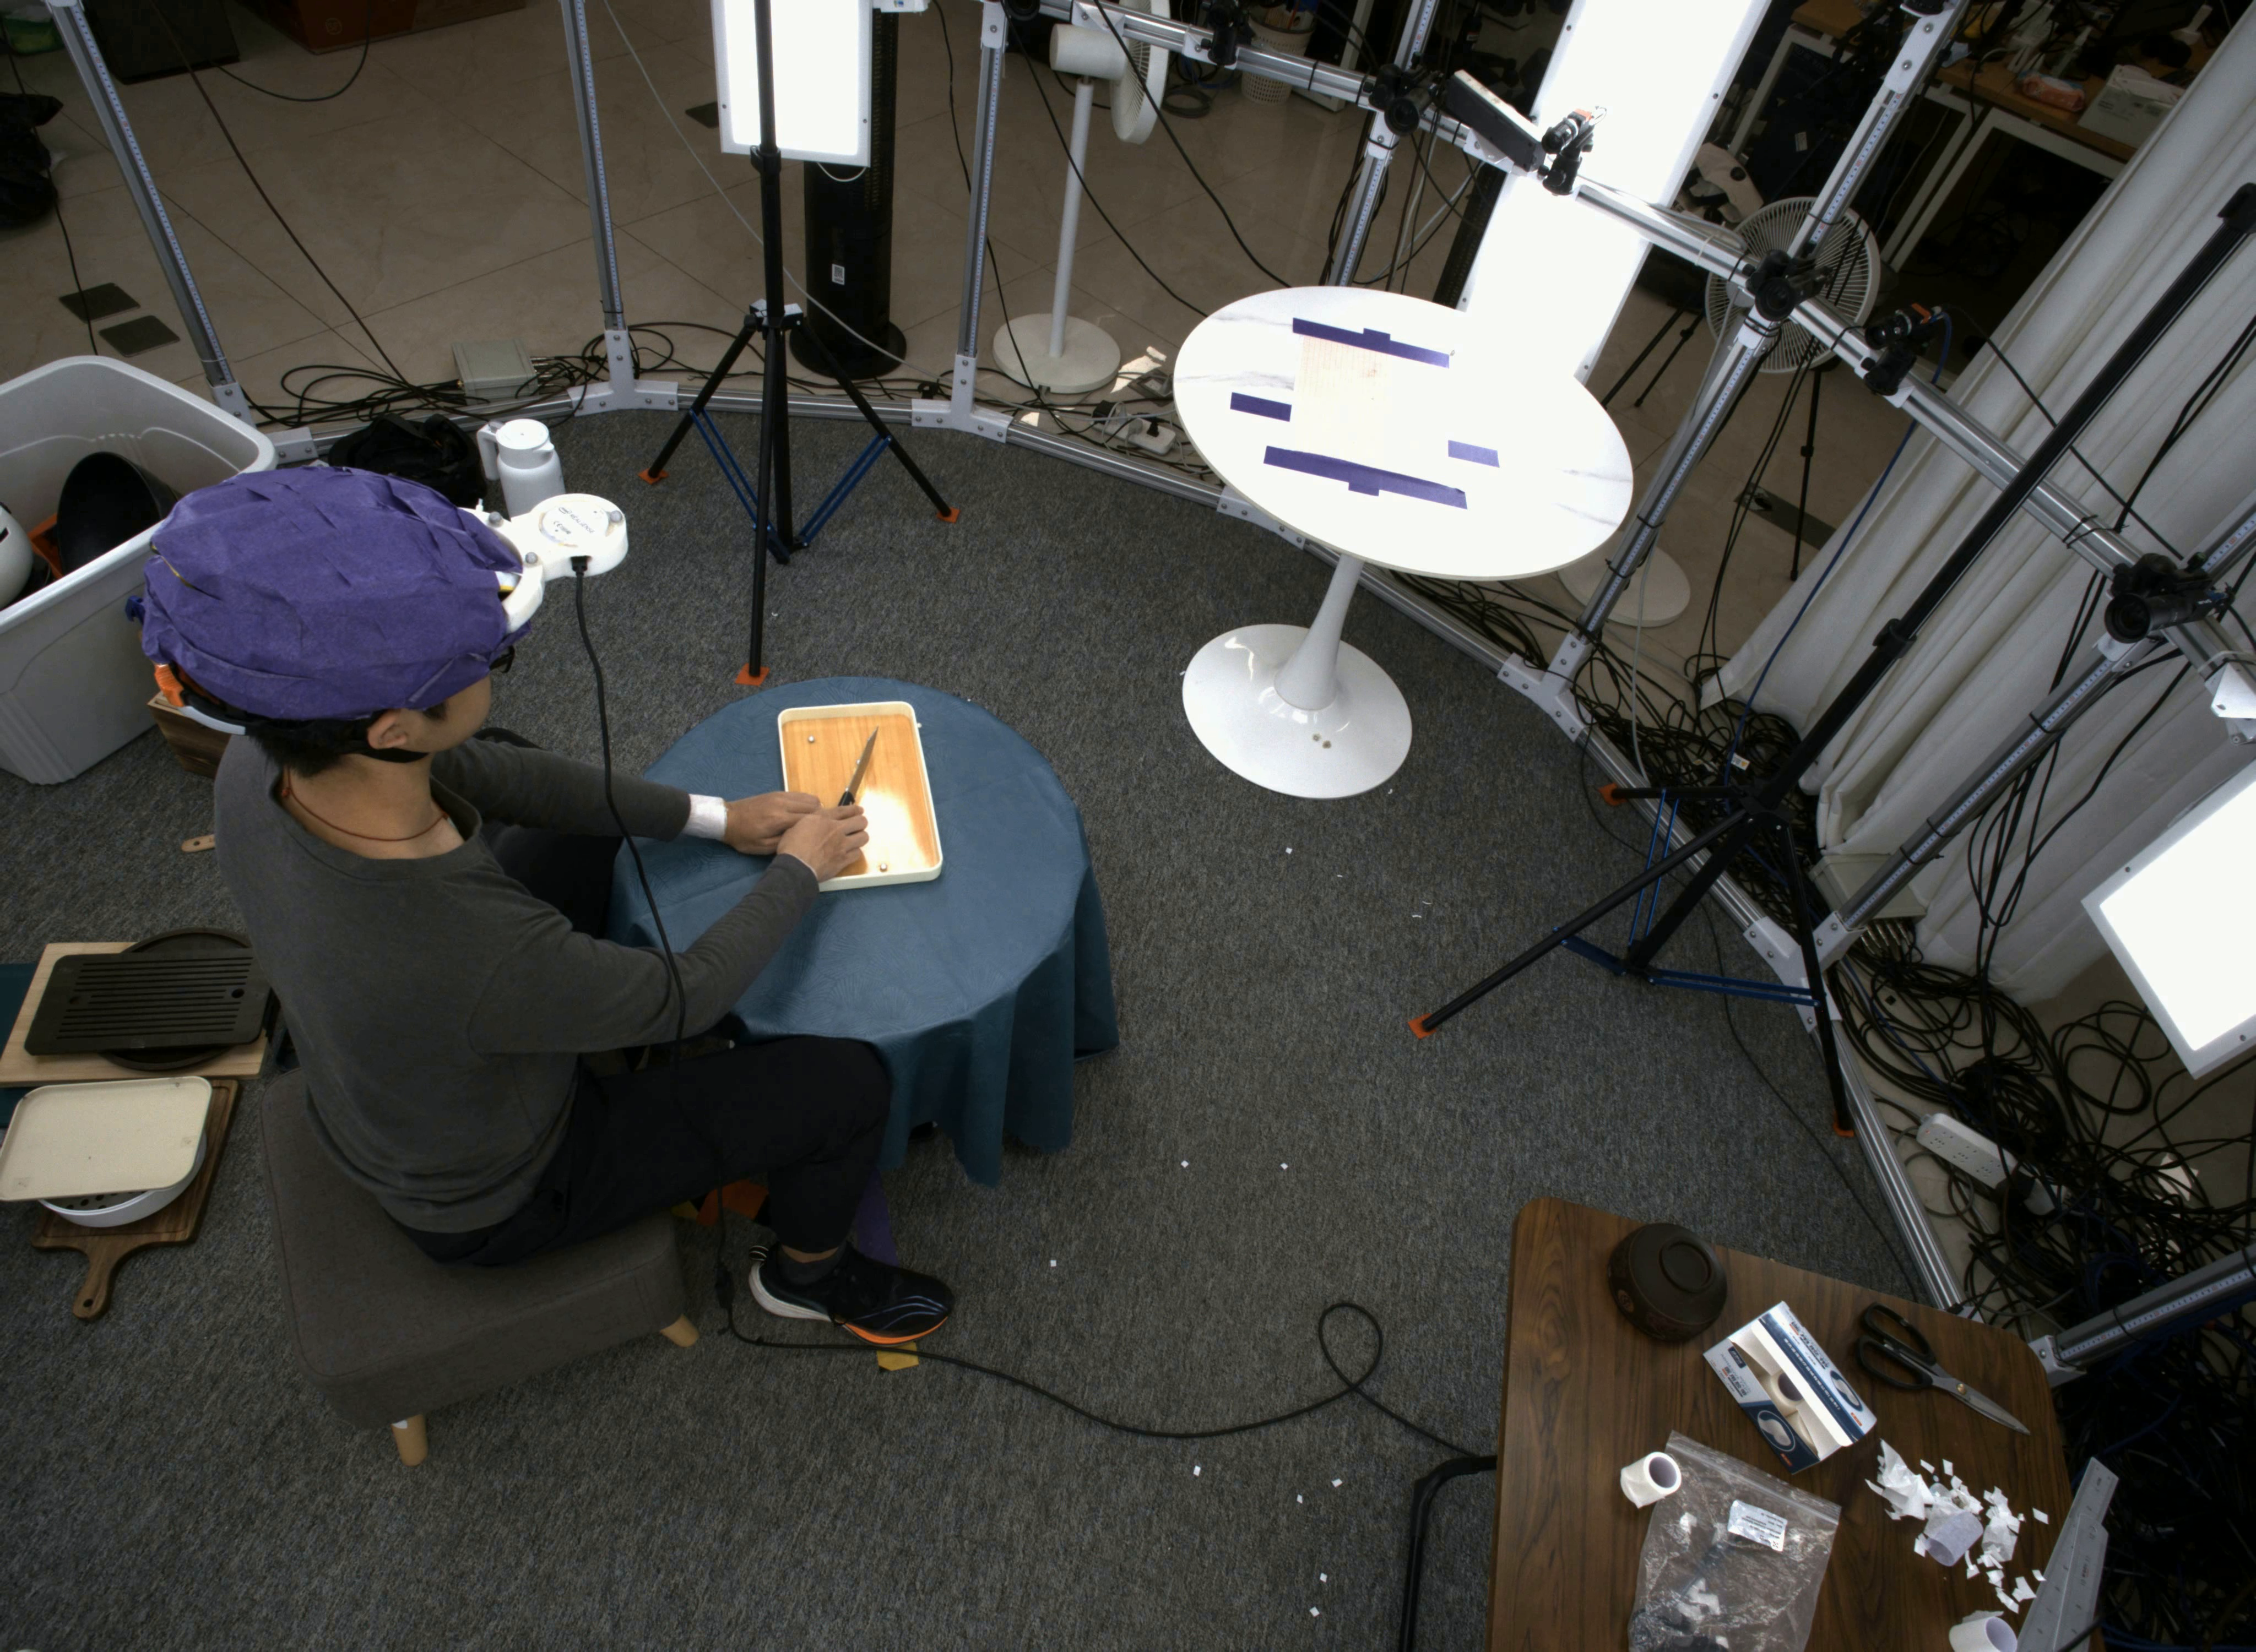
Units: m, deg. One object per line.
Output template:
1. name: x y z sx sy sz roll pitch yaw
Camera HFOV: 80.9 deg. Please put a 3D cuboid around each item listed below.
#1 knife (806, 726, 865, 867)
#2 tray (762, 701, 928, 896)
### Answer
1. knife: -0.387 -0.047 1.729 0.016 0.025 0.235 0 52 17
2. tray: -0.387 -0.044 1.760 0.192 0.028 0.293 -6 56 -17
